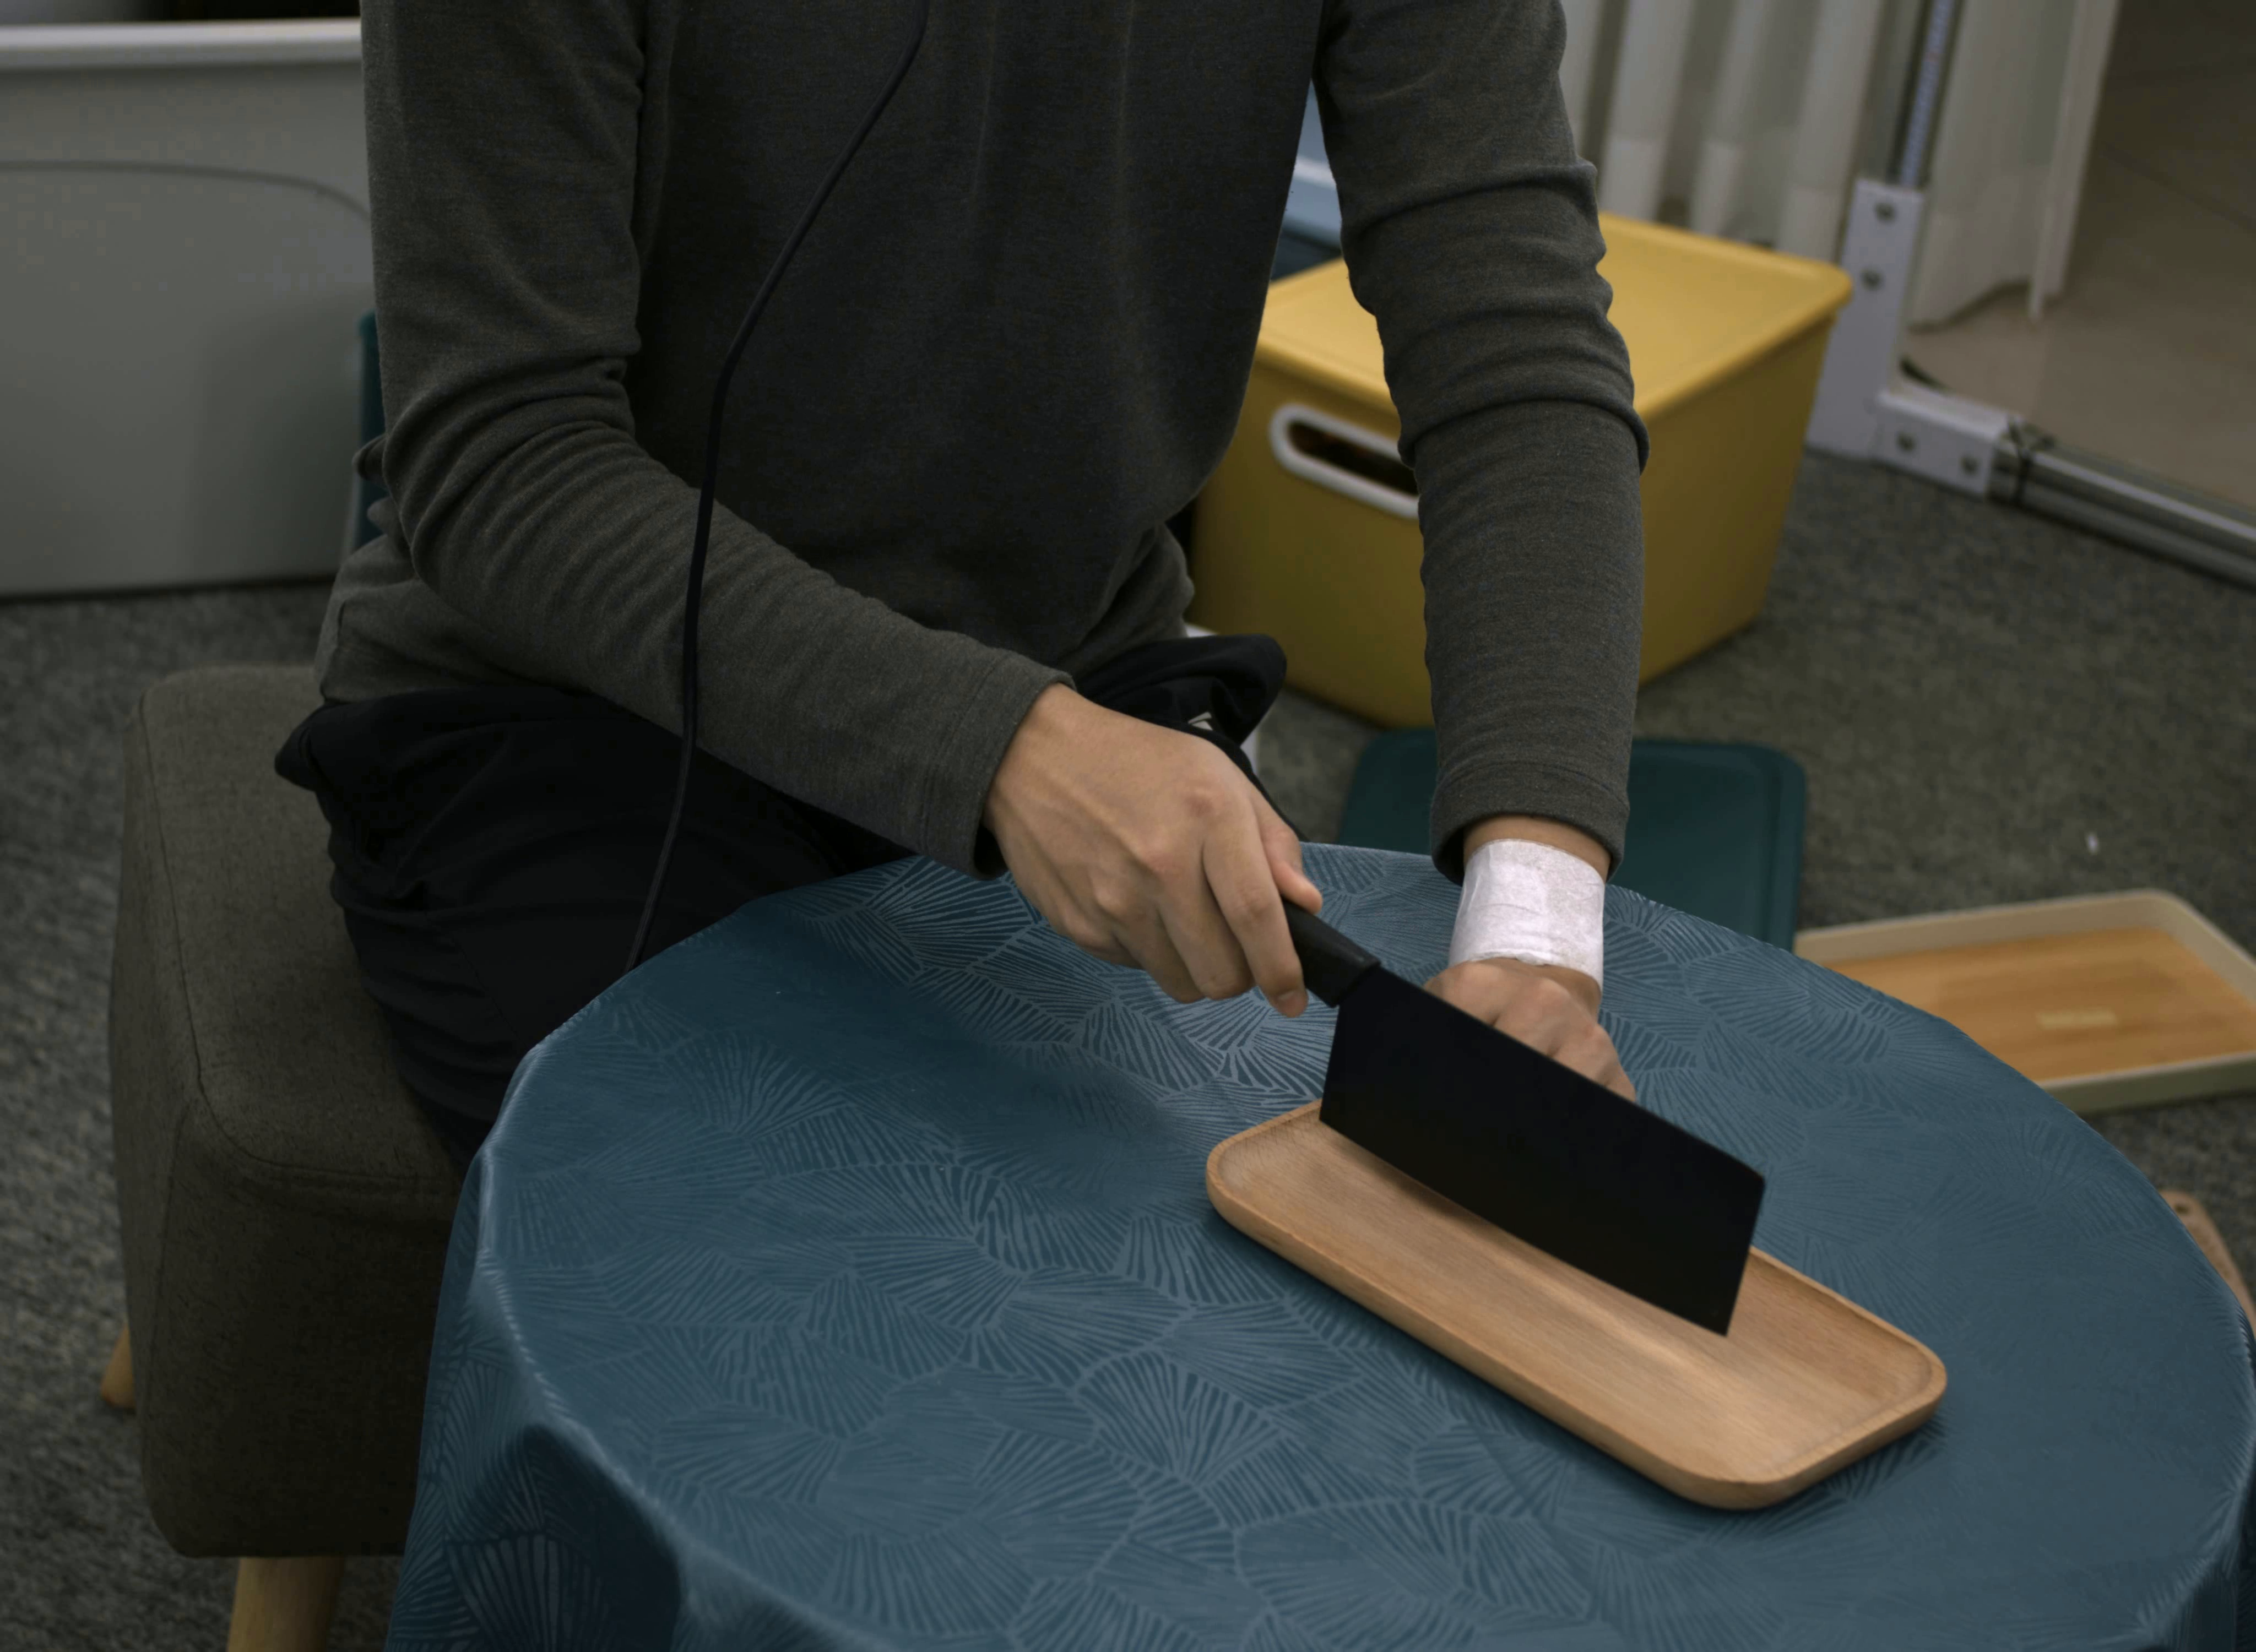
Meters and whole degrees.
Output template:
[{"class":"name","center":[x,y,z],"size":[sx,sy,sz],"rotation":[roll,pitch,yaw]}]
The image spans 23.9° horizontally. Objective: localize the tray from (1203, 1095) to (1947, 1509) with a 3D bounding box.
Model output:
[{"class":"tray","center":[0.145,0.152,1.766],"size":[0.130,0.023,0.252],"rotation":[-16,33,-42]}]

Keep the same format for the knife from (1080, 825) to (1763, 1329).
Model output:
[{"class":"knife","center":[0.093,0.077,1.789],"size":[0.021,0.081,0.305],"rotation":[-11,35,-45]}]
